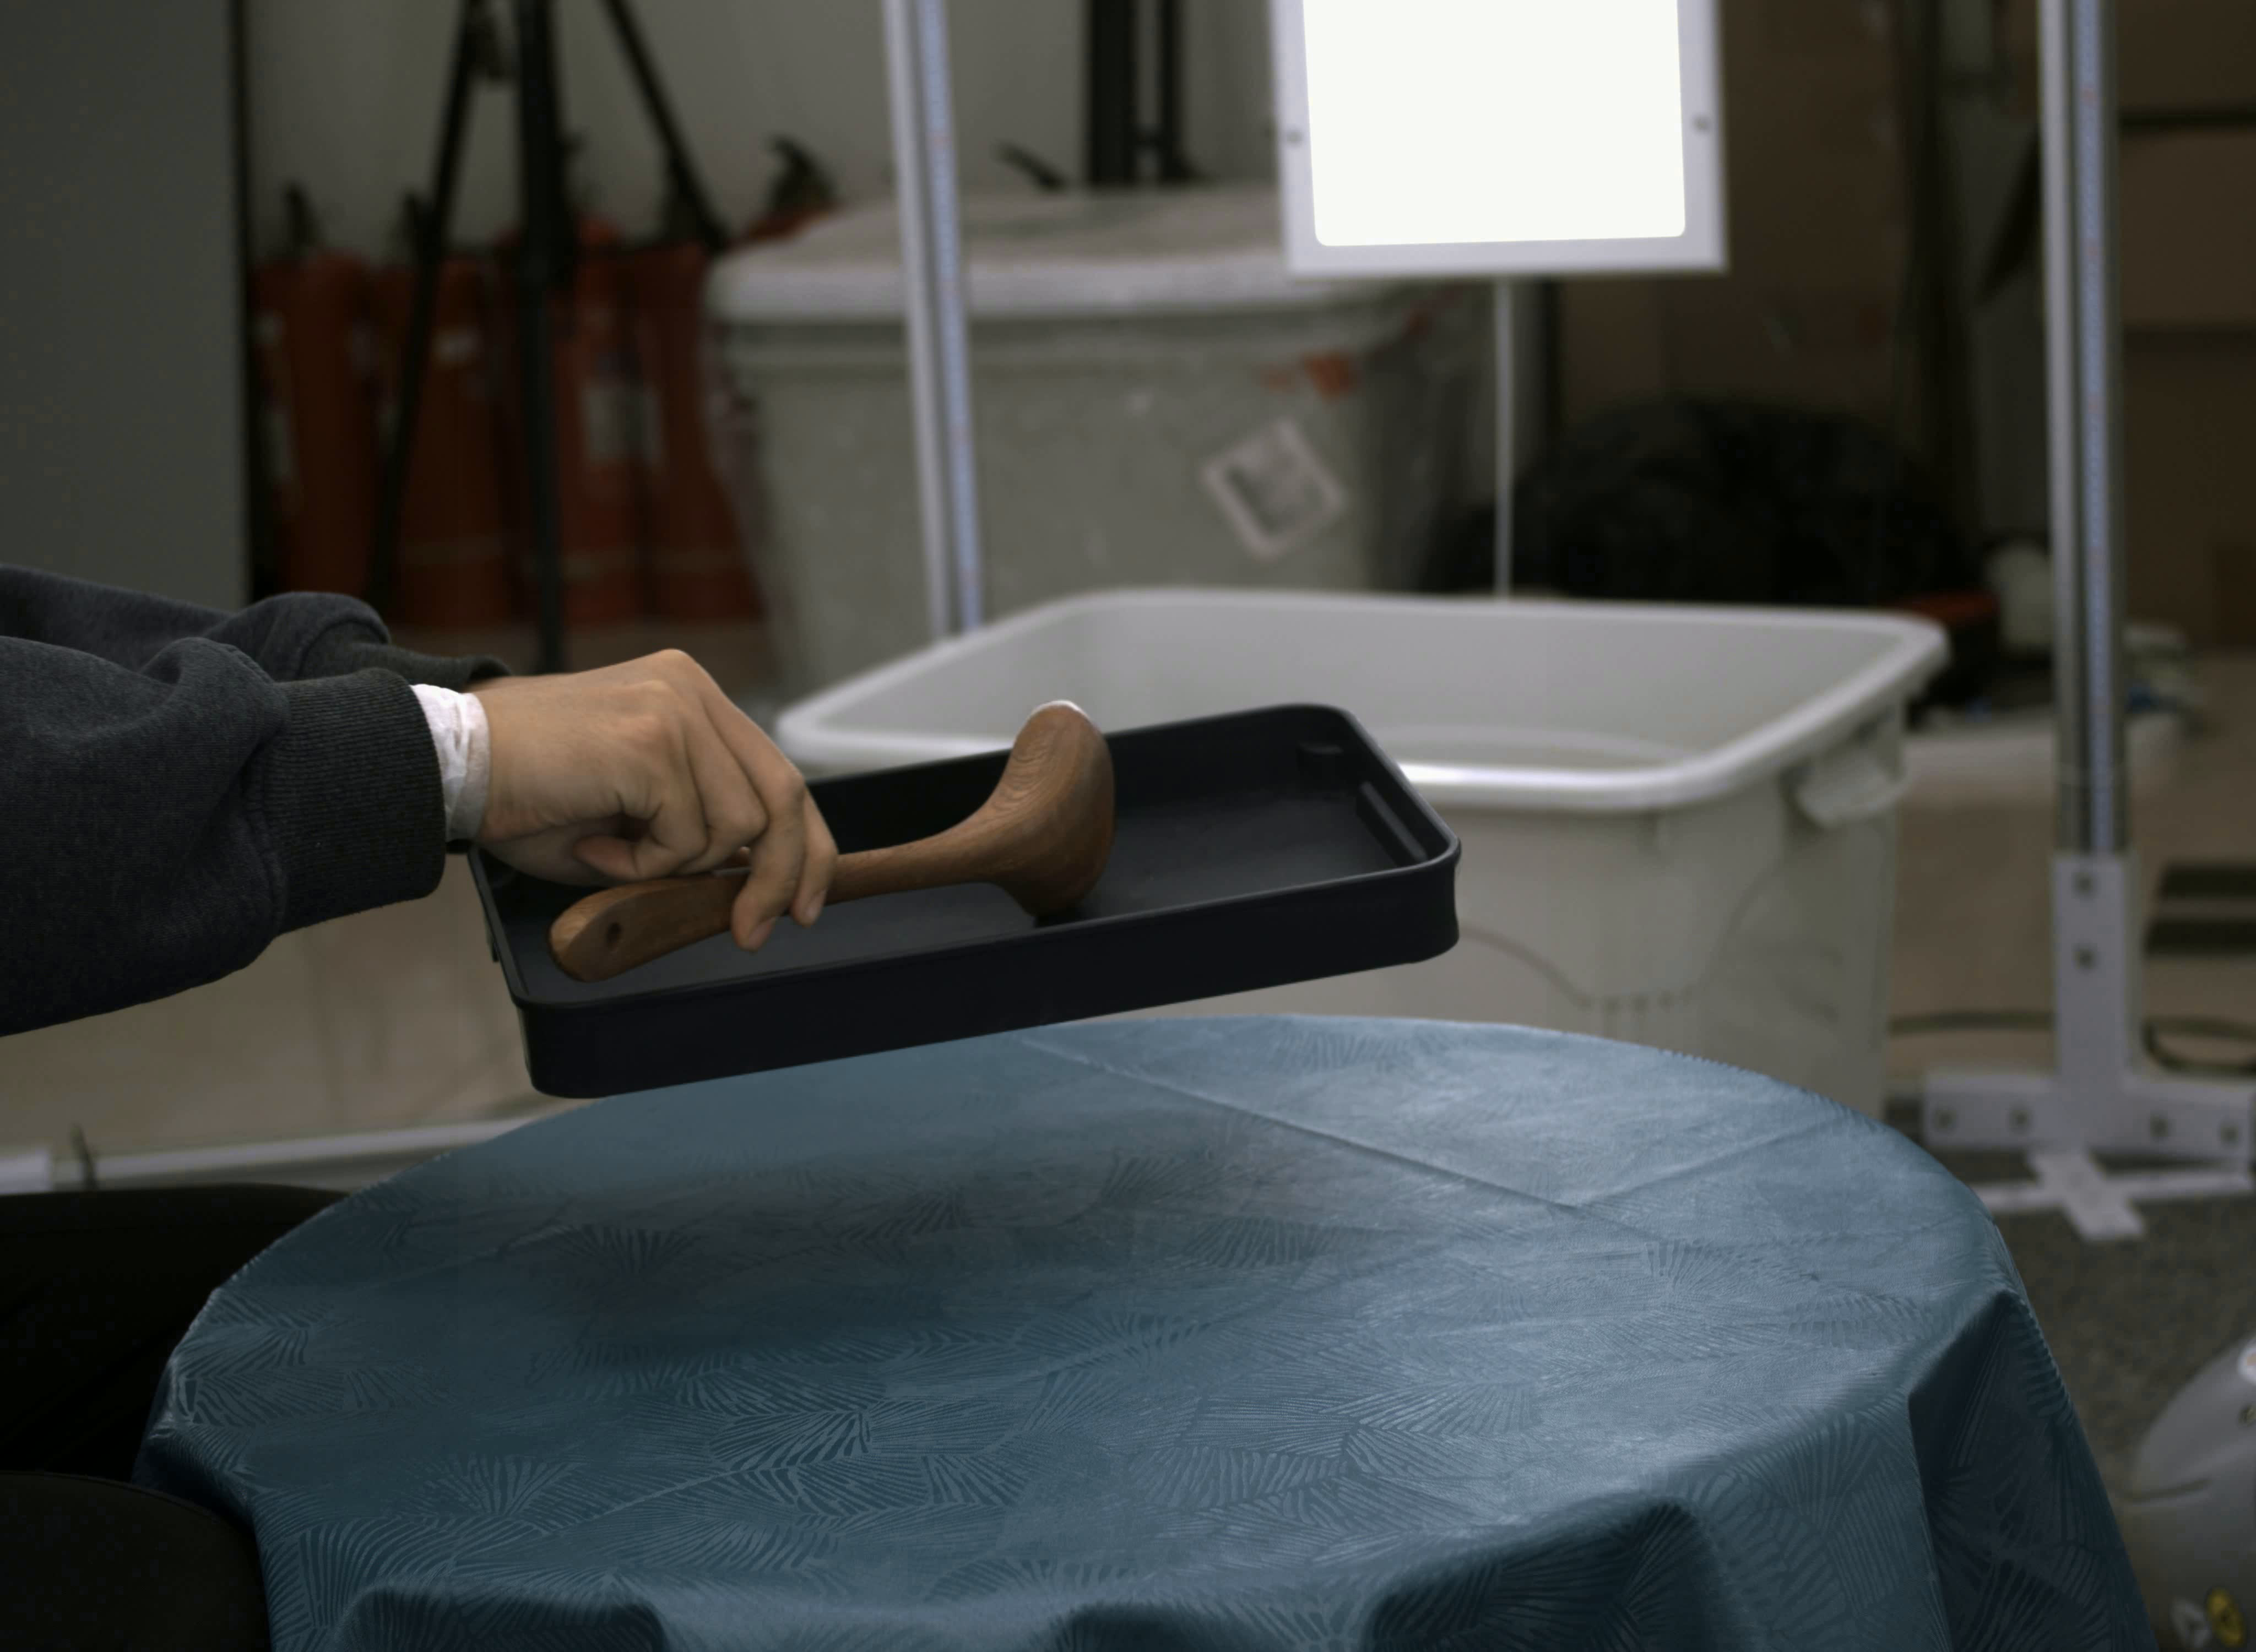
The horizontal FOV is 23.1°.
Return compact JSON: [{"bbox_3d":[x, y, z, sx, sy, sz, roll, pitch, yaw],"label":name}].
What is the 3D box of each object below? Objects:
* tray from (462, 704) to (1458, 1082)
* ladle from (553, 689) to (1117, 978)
[{"bbox_3d":[-0.059,0.019,1.859,0.315,0.037,0.185,-8,20,-8],"label":"tray"},{"bbox_3d":[-0.097,0.010,1.799,0.253,0.077,0.066,-14,17,-39],"label":"ladle"}]
